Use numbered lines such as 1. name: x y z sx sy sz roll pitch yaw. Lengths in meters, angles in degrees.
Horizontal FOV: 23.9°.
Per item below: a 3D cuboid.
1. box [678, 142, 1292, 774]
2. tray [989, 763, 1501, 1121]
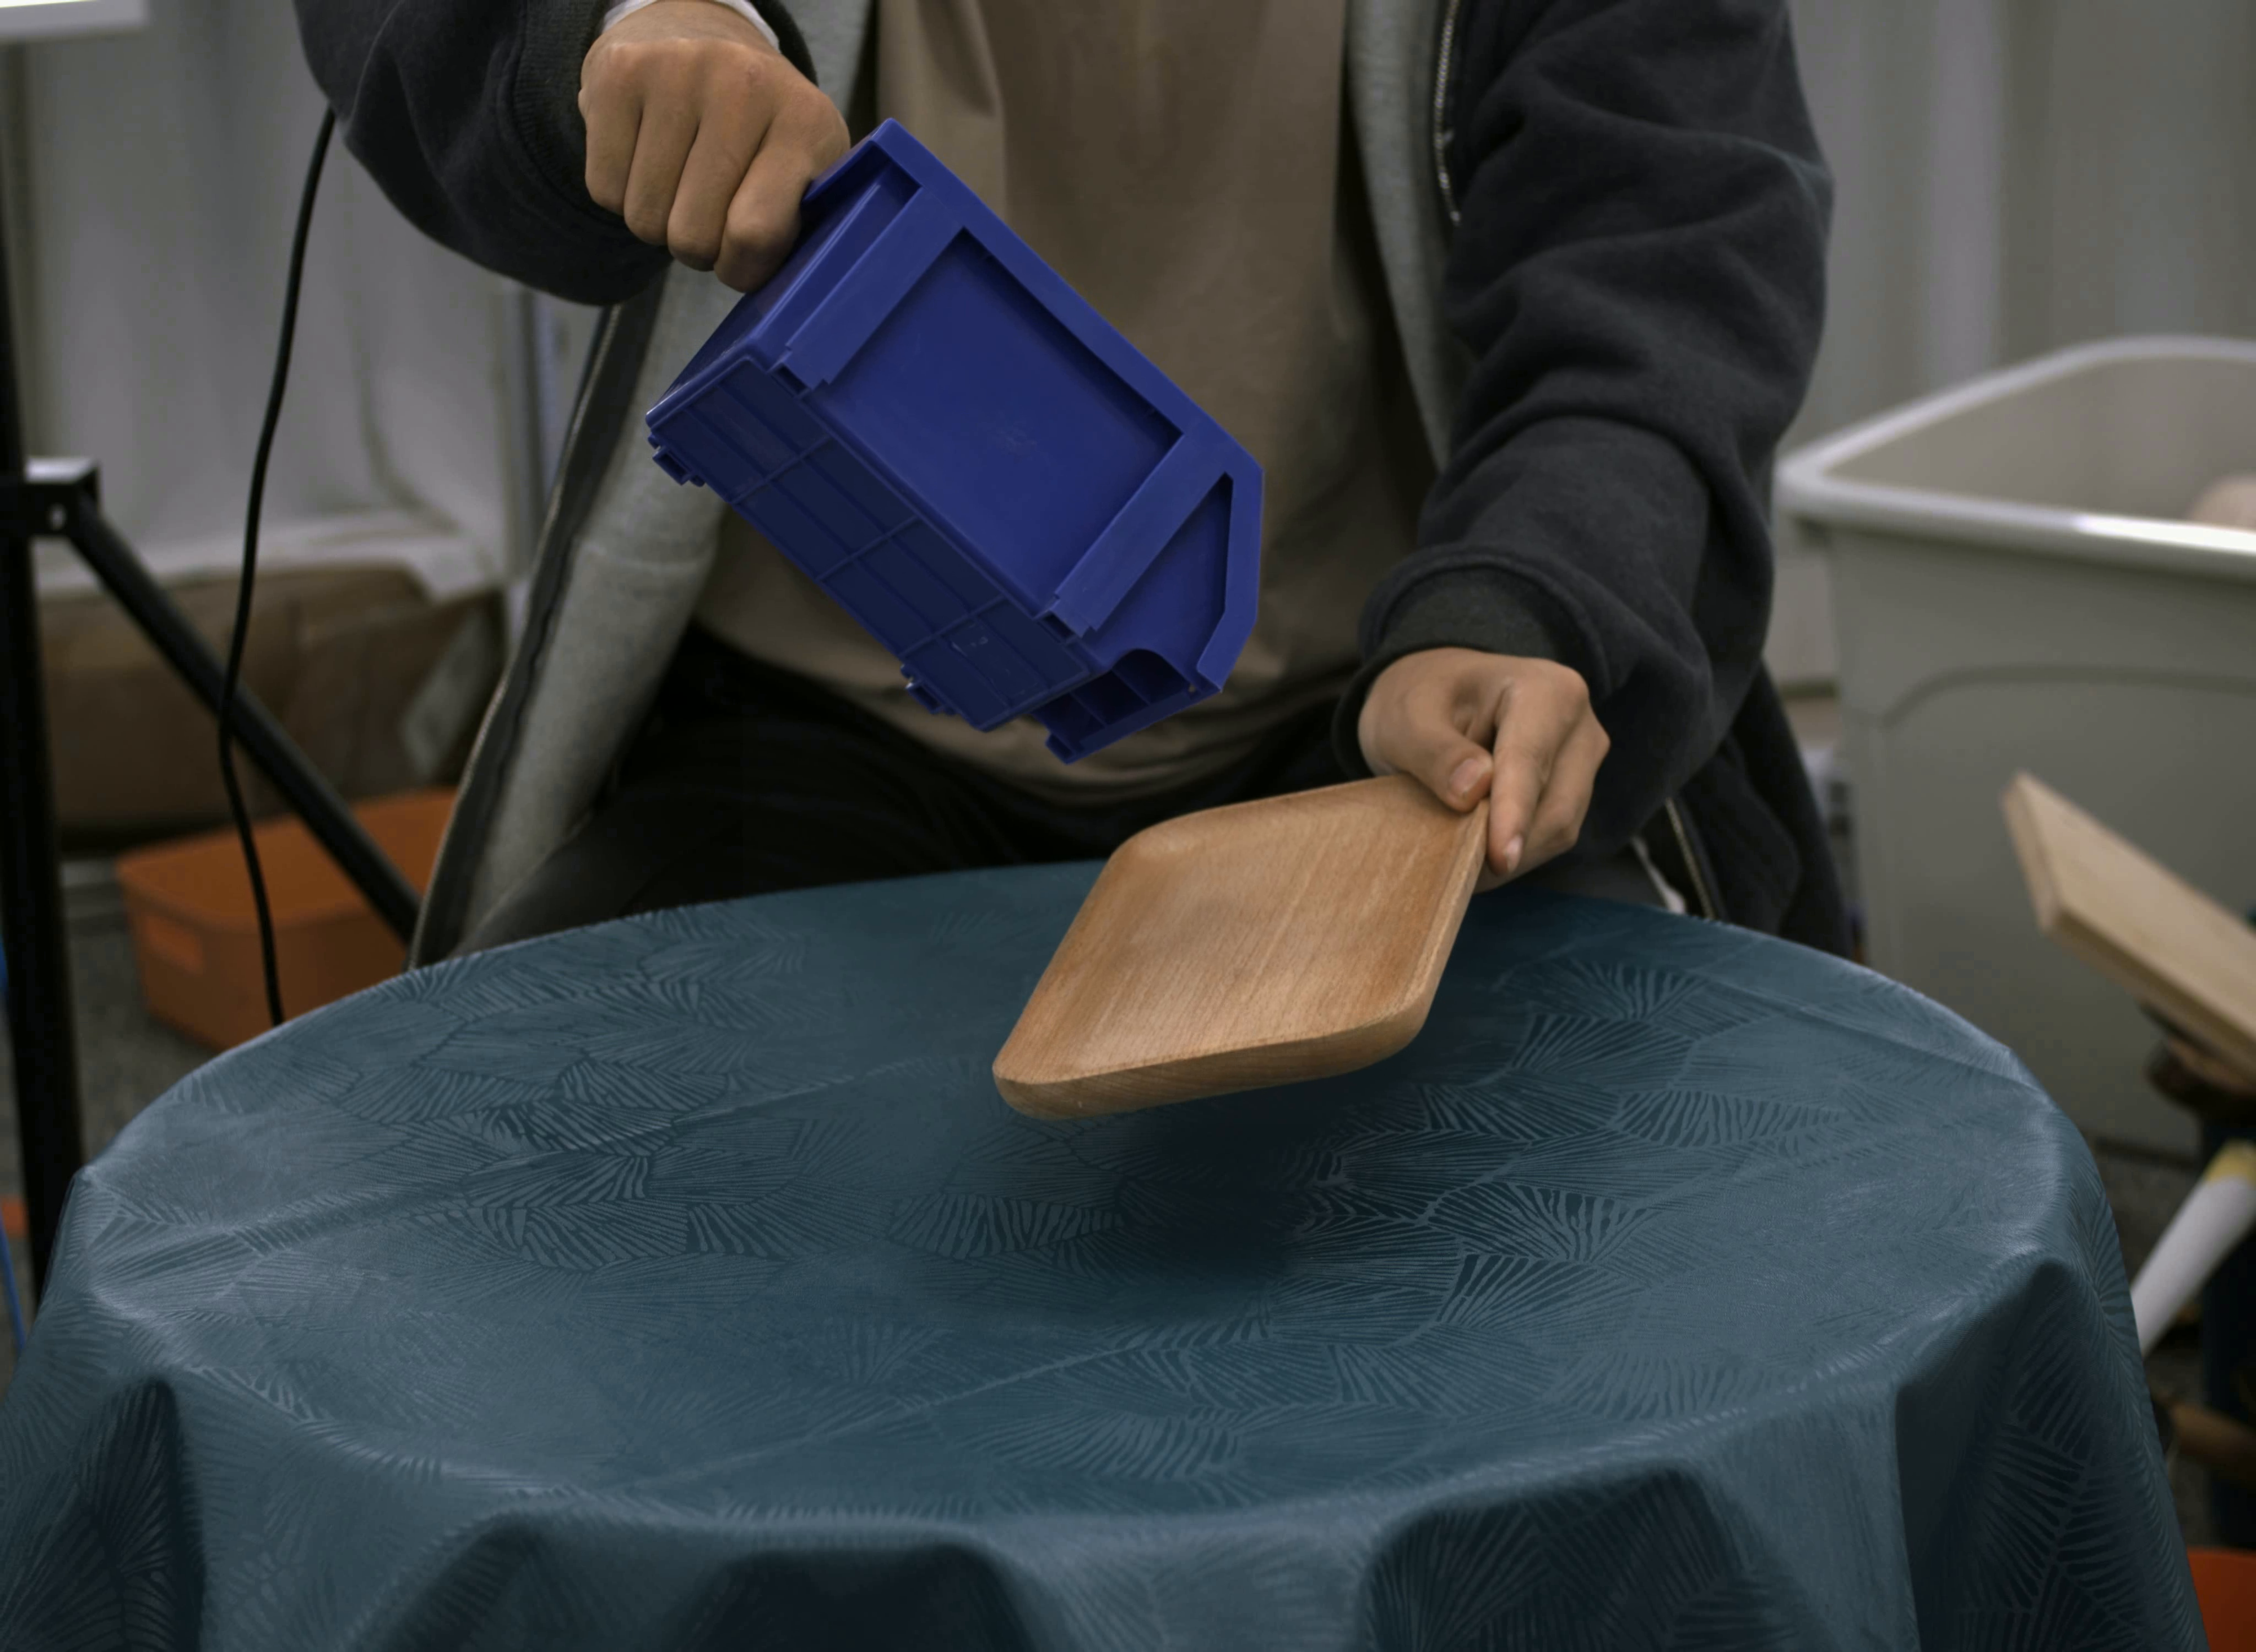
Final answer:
1. box: -0.040 -0.098 1.579 0.081 0.178 0.126 -55 9 -21
2. tray: 0.039 0.032 1.582 0.131 0.023 0.249 -8 16 14
